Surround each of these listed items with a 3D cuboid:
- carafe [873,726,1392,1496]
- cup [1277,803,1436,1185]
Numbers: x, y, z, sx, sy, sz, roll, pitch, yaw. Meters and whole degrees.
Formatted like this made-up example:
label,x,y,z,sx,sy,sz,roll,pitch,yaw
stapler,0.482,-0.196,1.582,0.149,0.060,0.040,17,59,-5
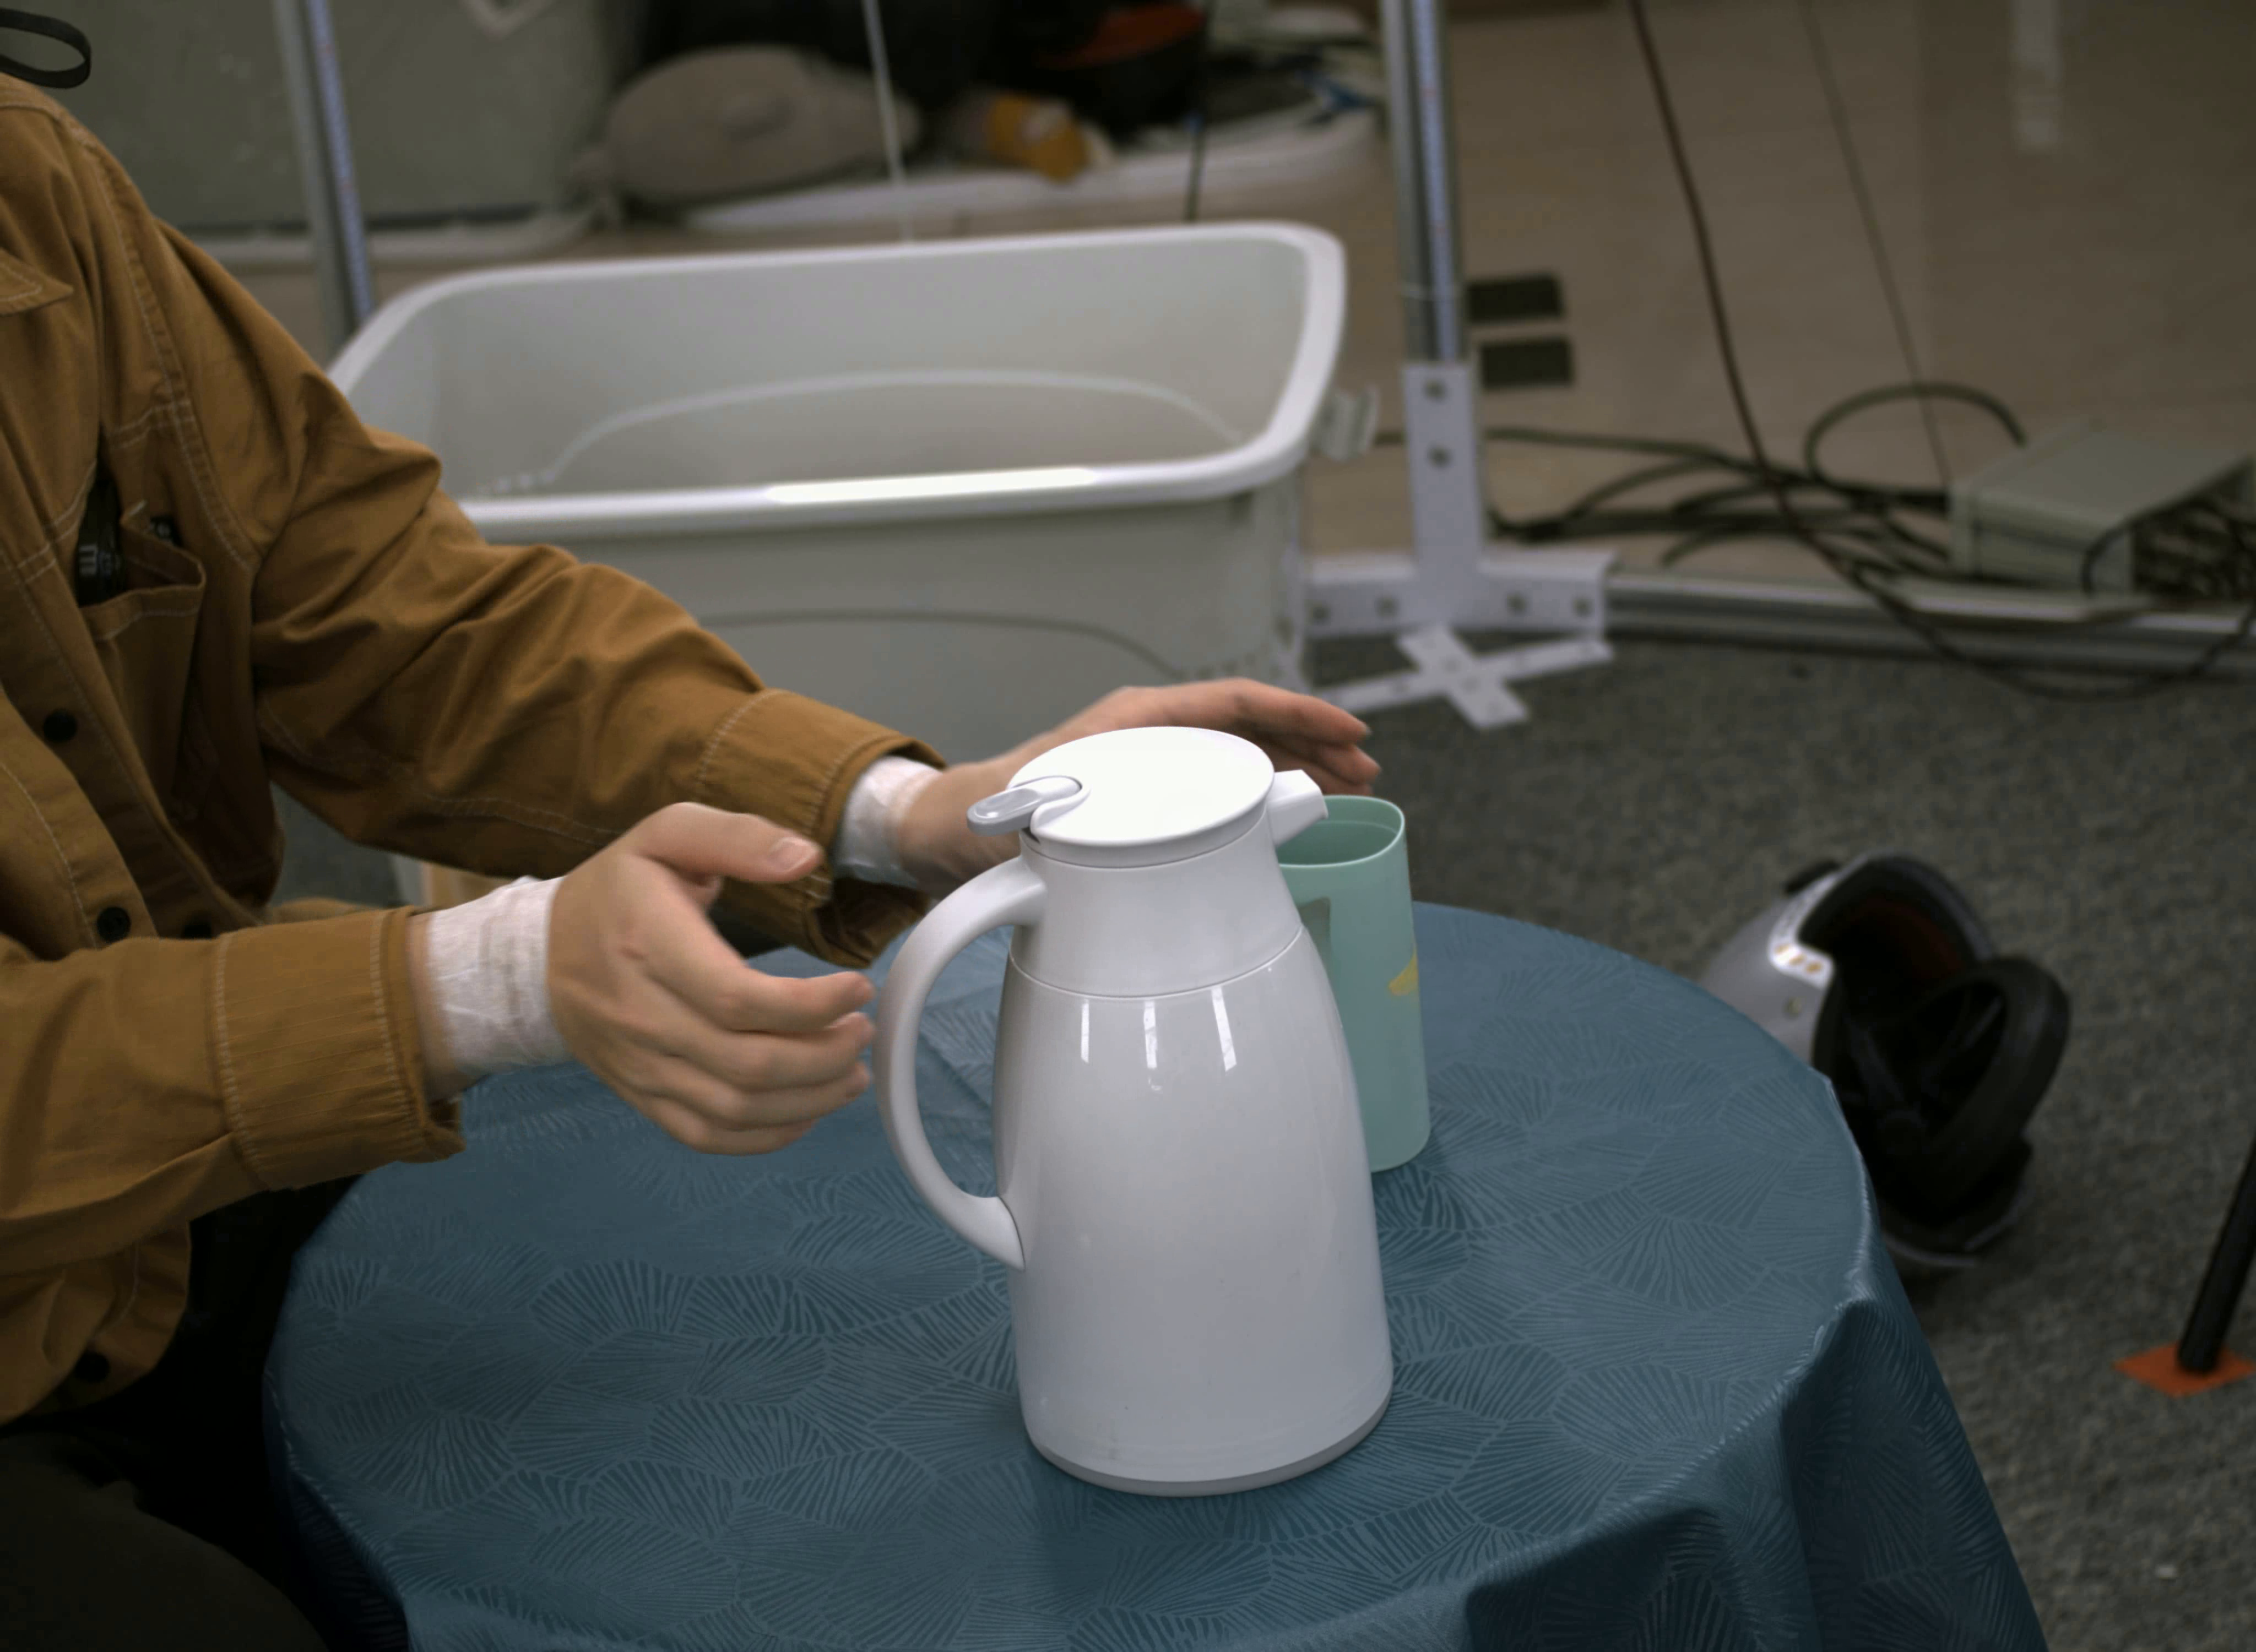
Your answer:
label,x,y,z,sx,sy,sz,roll,pitch,yaw
carafe,-0.002,0.096,1.945,0.167,0.253,0.131,-15,27,-15
cup,0.079,0.063,2.144,0.066,0.134,0.066,-5,26,2
